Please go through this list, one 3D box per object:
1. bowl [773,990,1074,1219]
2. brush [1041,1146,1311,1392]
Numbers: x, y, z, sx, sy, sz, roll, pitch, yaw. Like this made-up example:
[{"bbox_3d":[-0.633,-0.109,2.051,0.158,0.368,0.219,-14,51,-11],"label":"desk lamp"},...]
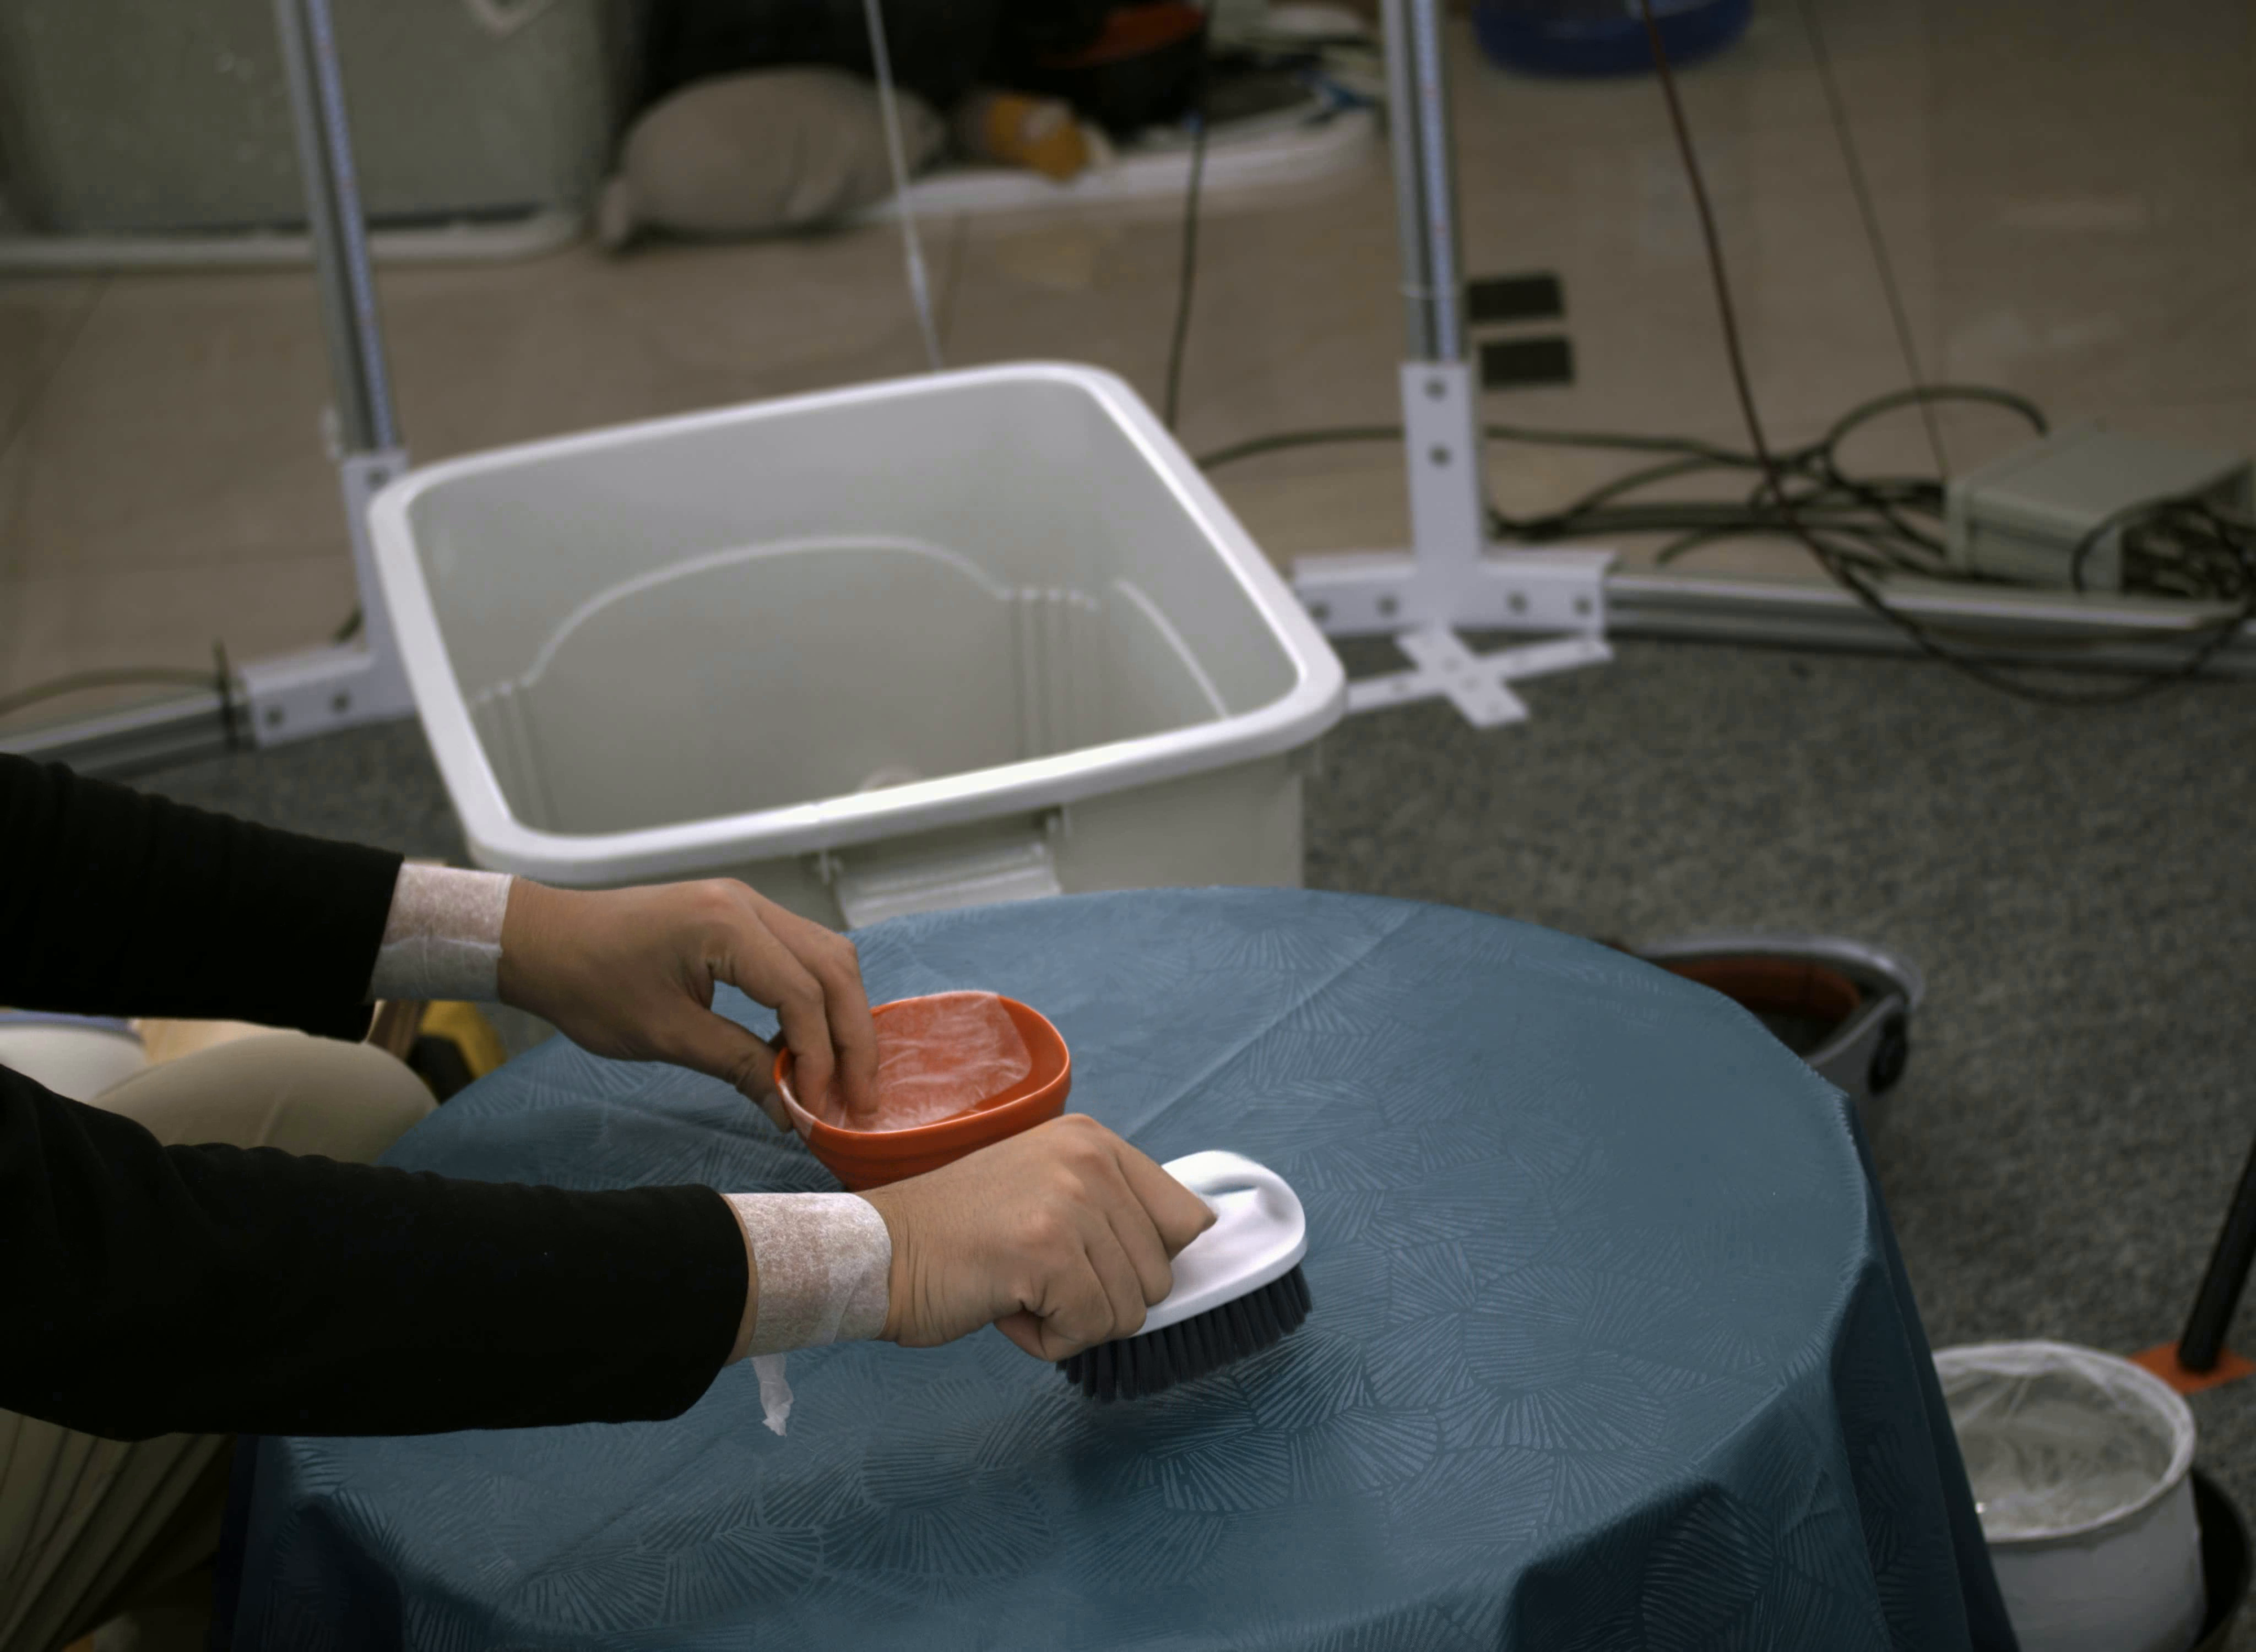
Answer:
[{"bbox_3d":[-0.077,0.111,2.164,0.119,0.052,0.117,-2,25,1],"label":"bowl"},{"bbox_3d":[0.016,0.149,1.994,0.099,0.074,0.049,-19,39,-19],"label":"brush"}]
